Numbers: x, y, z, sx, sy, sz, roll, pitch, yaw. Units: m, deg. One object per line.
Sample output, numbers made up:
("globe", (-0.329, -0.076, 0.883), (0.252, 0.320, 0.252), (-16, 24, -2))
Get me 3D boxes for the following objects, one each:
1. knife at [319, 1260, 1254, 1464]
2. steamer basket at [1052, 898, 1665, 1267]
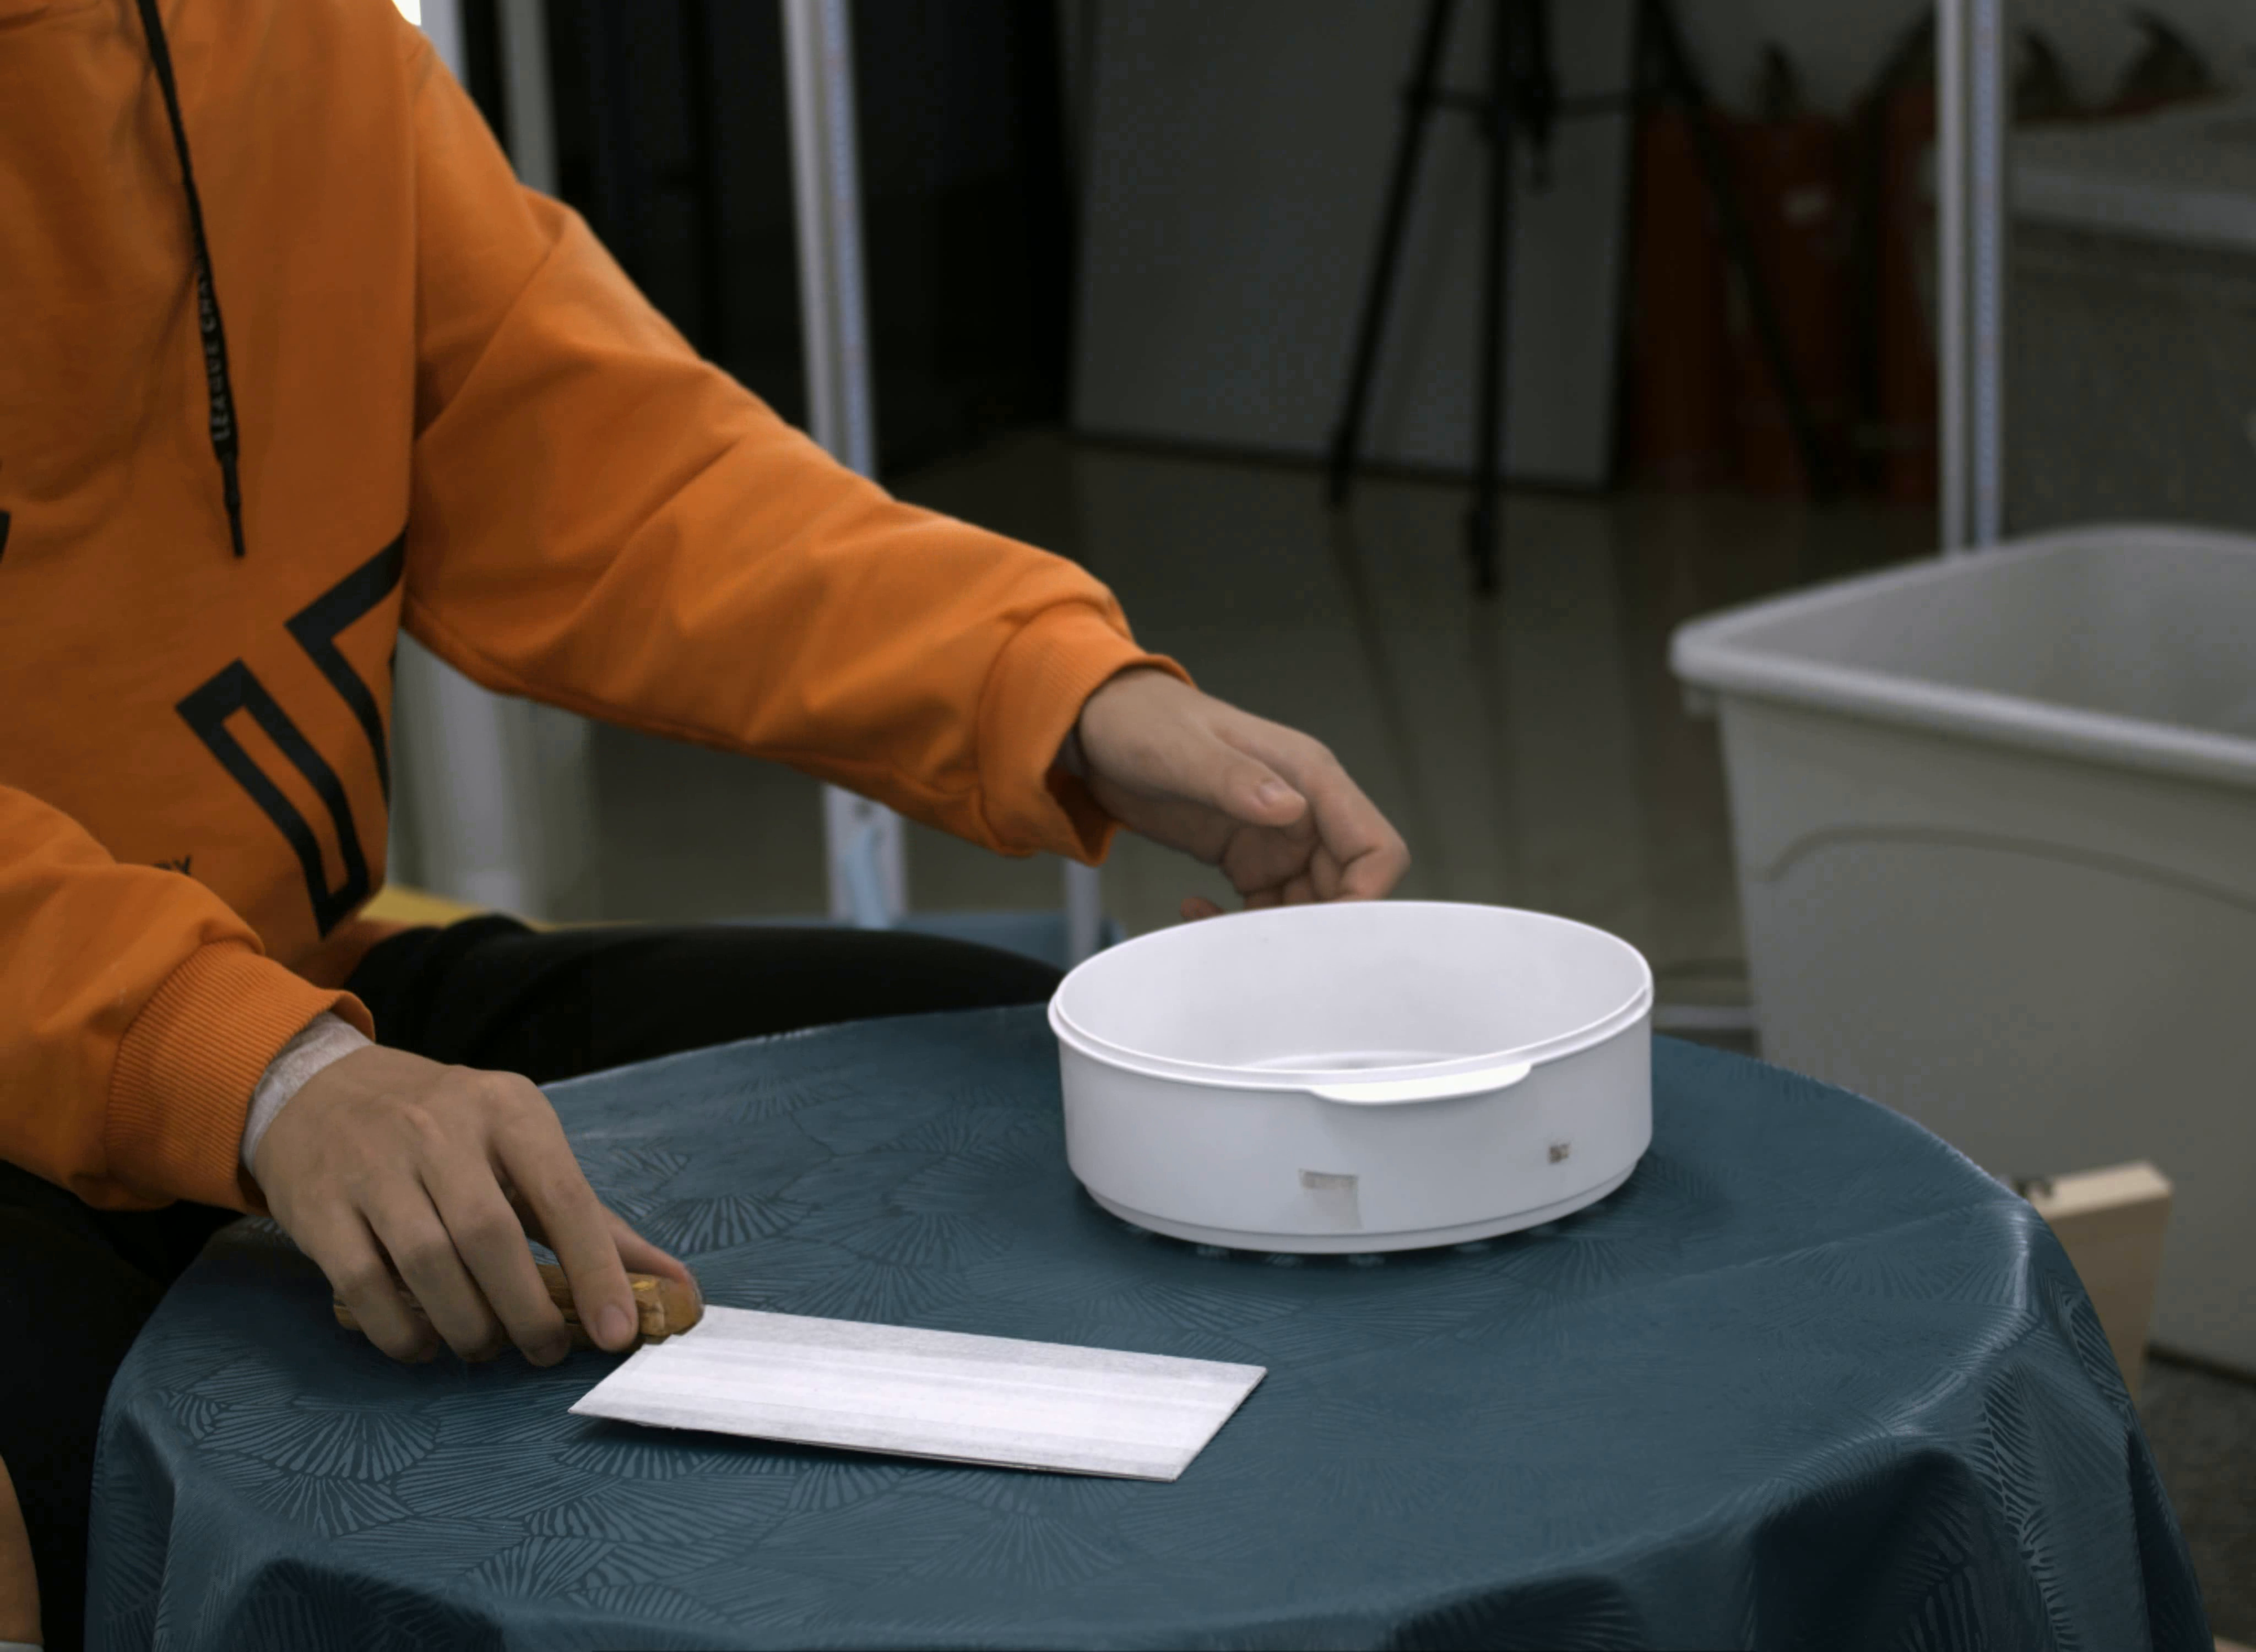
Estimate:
("knife", (-0.113, 0.162, 1.606), (0.305, 0.021, 0.092), (4, 17, 21))
("steamer basket", (0.077, 0.083, 1.757), (0.198, 0.070, 0.232), (-7, 16, -9))
